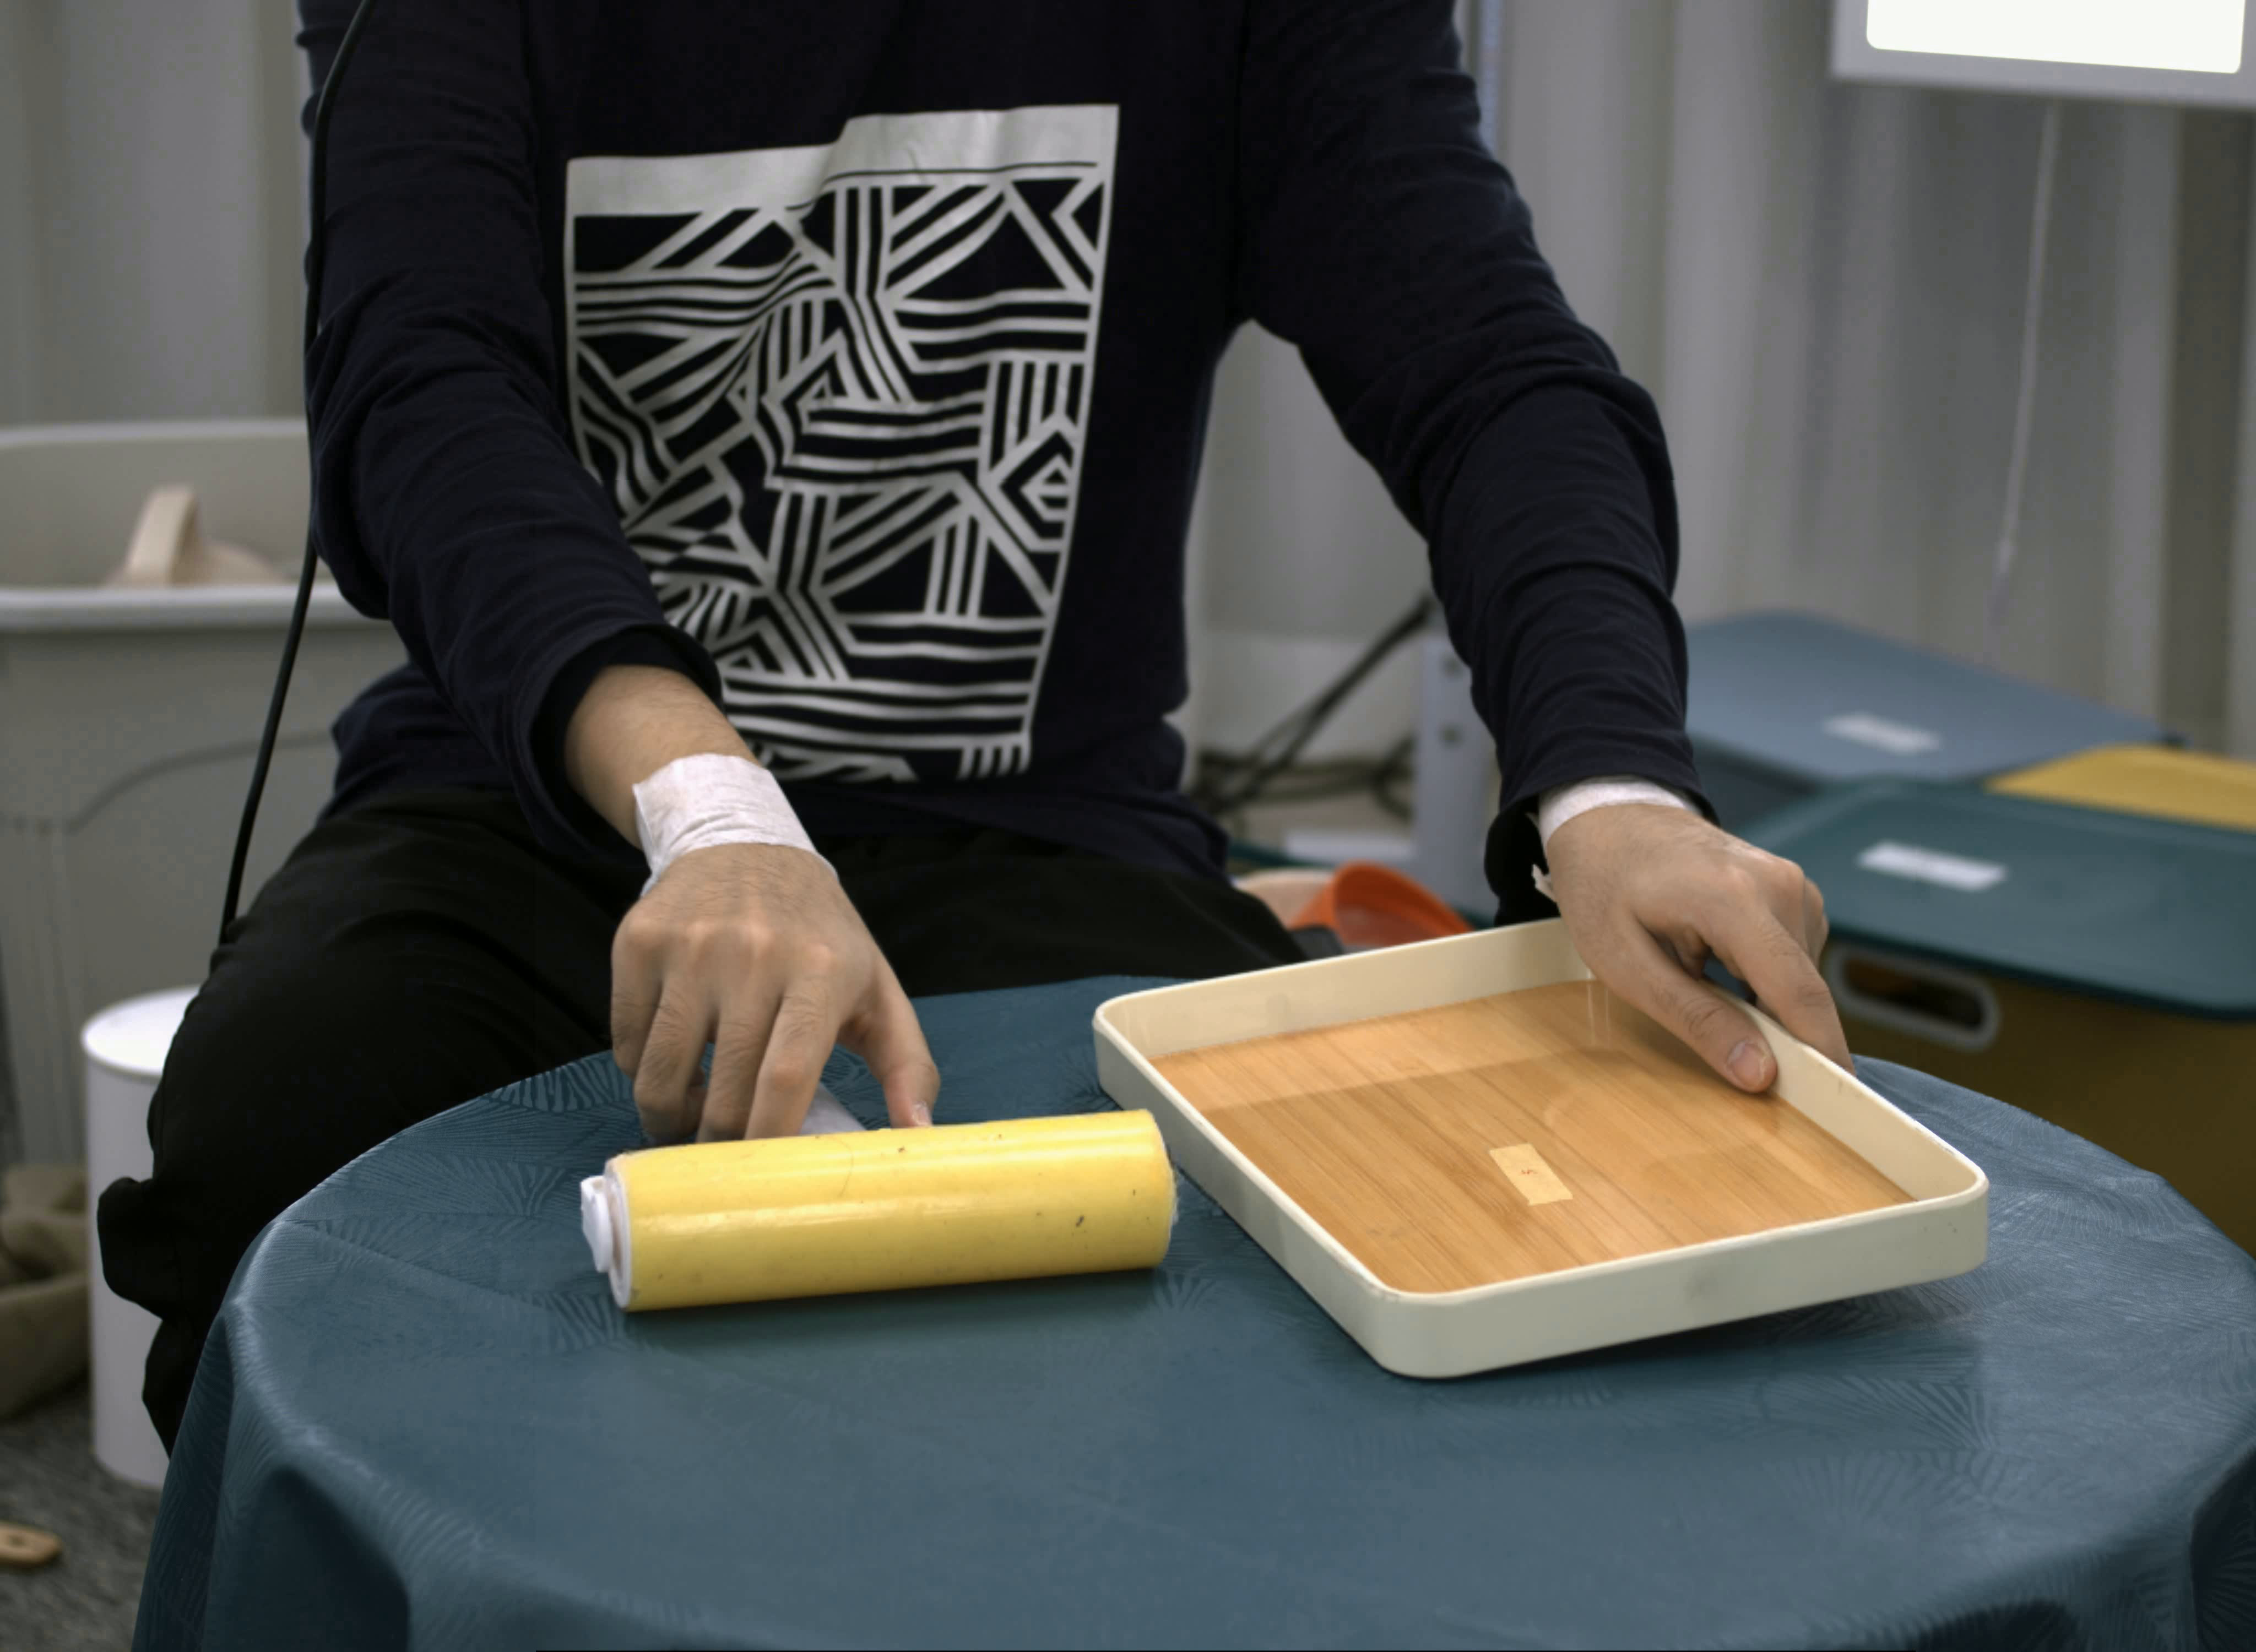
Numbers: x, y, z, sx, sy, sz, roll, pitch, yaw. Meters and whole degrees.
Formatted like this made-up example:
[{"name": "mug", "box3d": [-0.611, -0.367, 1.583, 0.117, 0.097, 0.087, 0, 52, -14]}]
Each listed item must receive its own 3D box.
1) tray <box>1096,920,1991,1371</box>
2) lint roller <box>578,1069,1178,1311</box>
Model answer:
[{"name": "tray", "box3d": [0.120, 0.093, 1.622, 0.192, 0.027, 0.297, -9, 17, -16]}, {"name": "lint roller", "box3d": [-0.091, 0.093, 1.600, 0.174, 0.052, 0.190, -3, 19, -17]}]
